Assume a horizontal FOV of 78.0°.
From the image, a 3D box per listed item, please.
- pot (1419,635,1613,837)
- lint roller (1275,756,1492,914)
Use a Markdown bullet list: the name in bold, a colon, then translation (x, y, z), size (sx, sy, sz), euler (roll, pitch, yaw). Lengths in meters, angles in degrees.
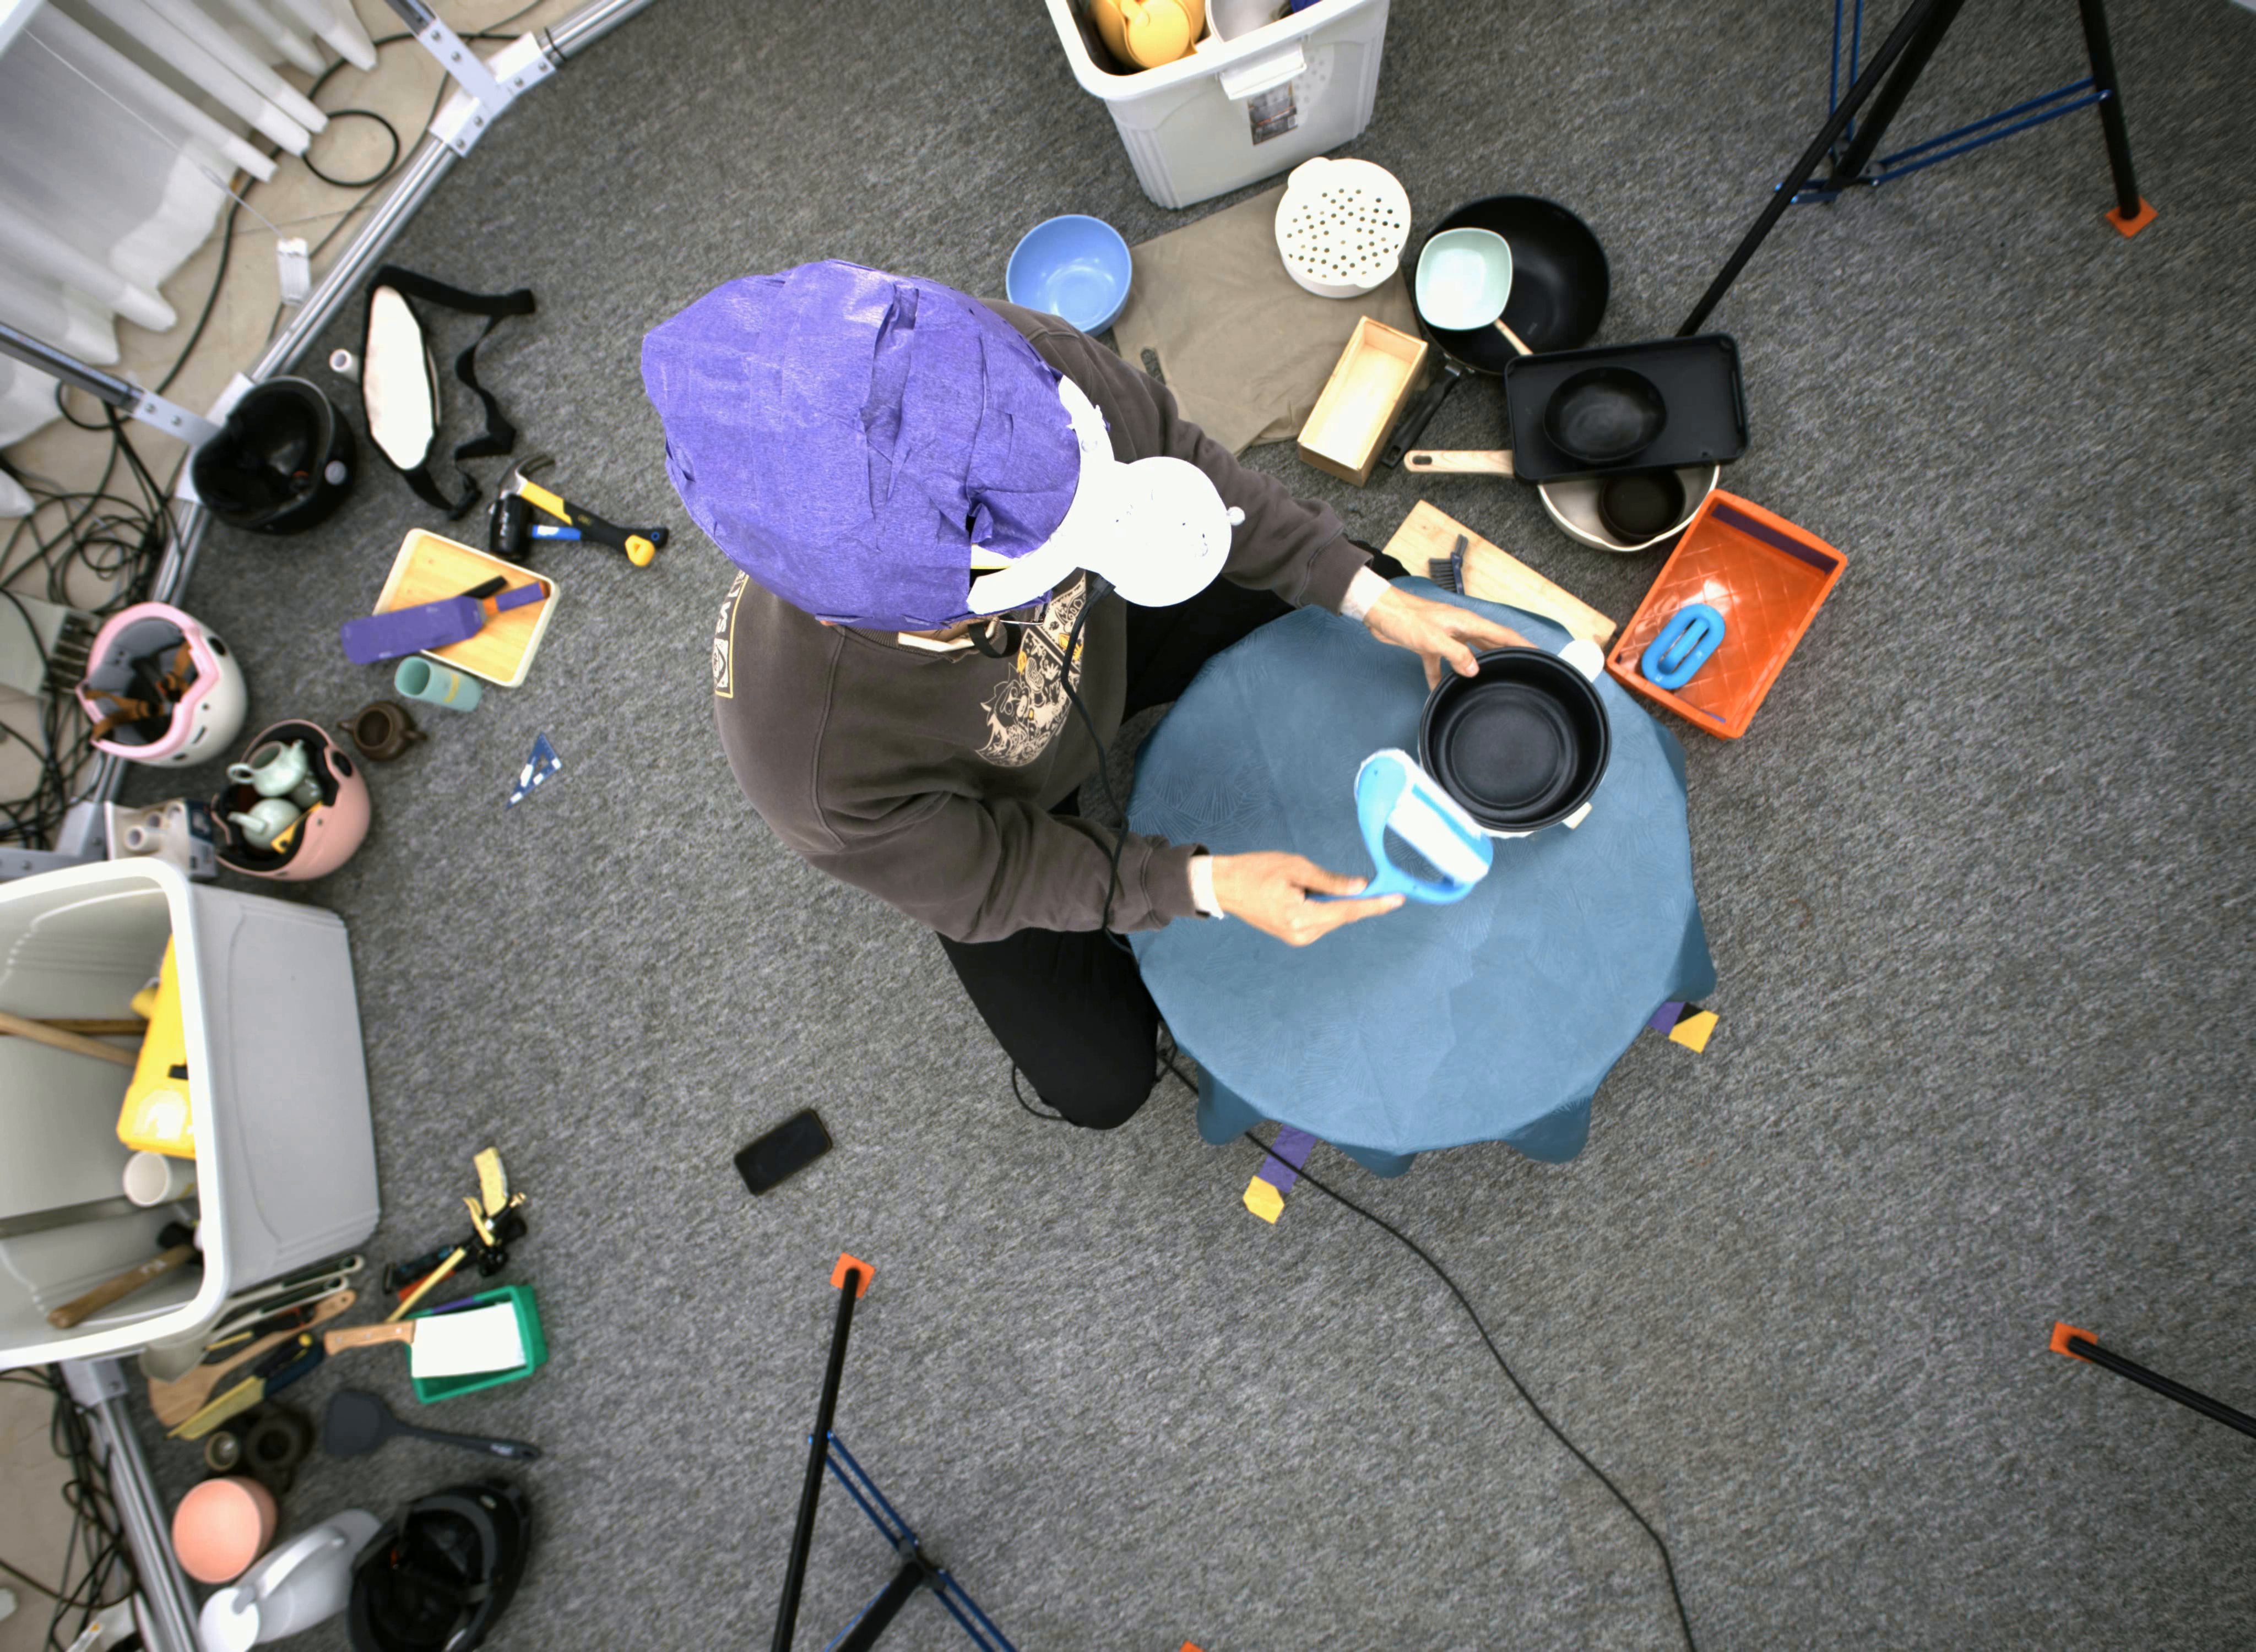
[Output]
- **pot**: translation (0.388, -0.079, 1.372), size (0.189, 0.143, 0.241), euler (40, 95, 14)
- **lint roller**: translation (0.215, 0.036, 1.215), size (0.183, 0.230, 0.066), euler (-39, 54, 18)
